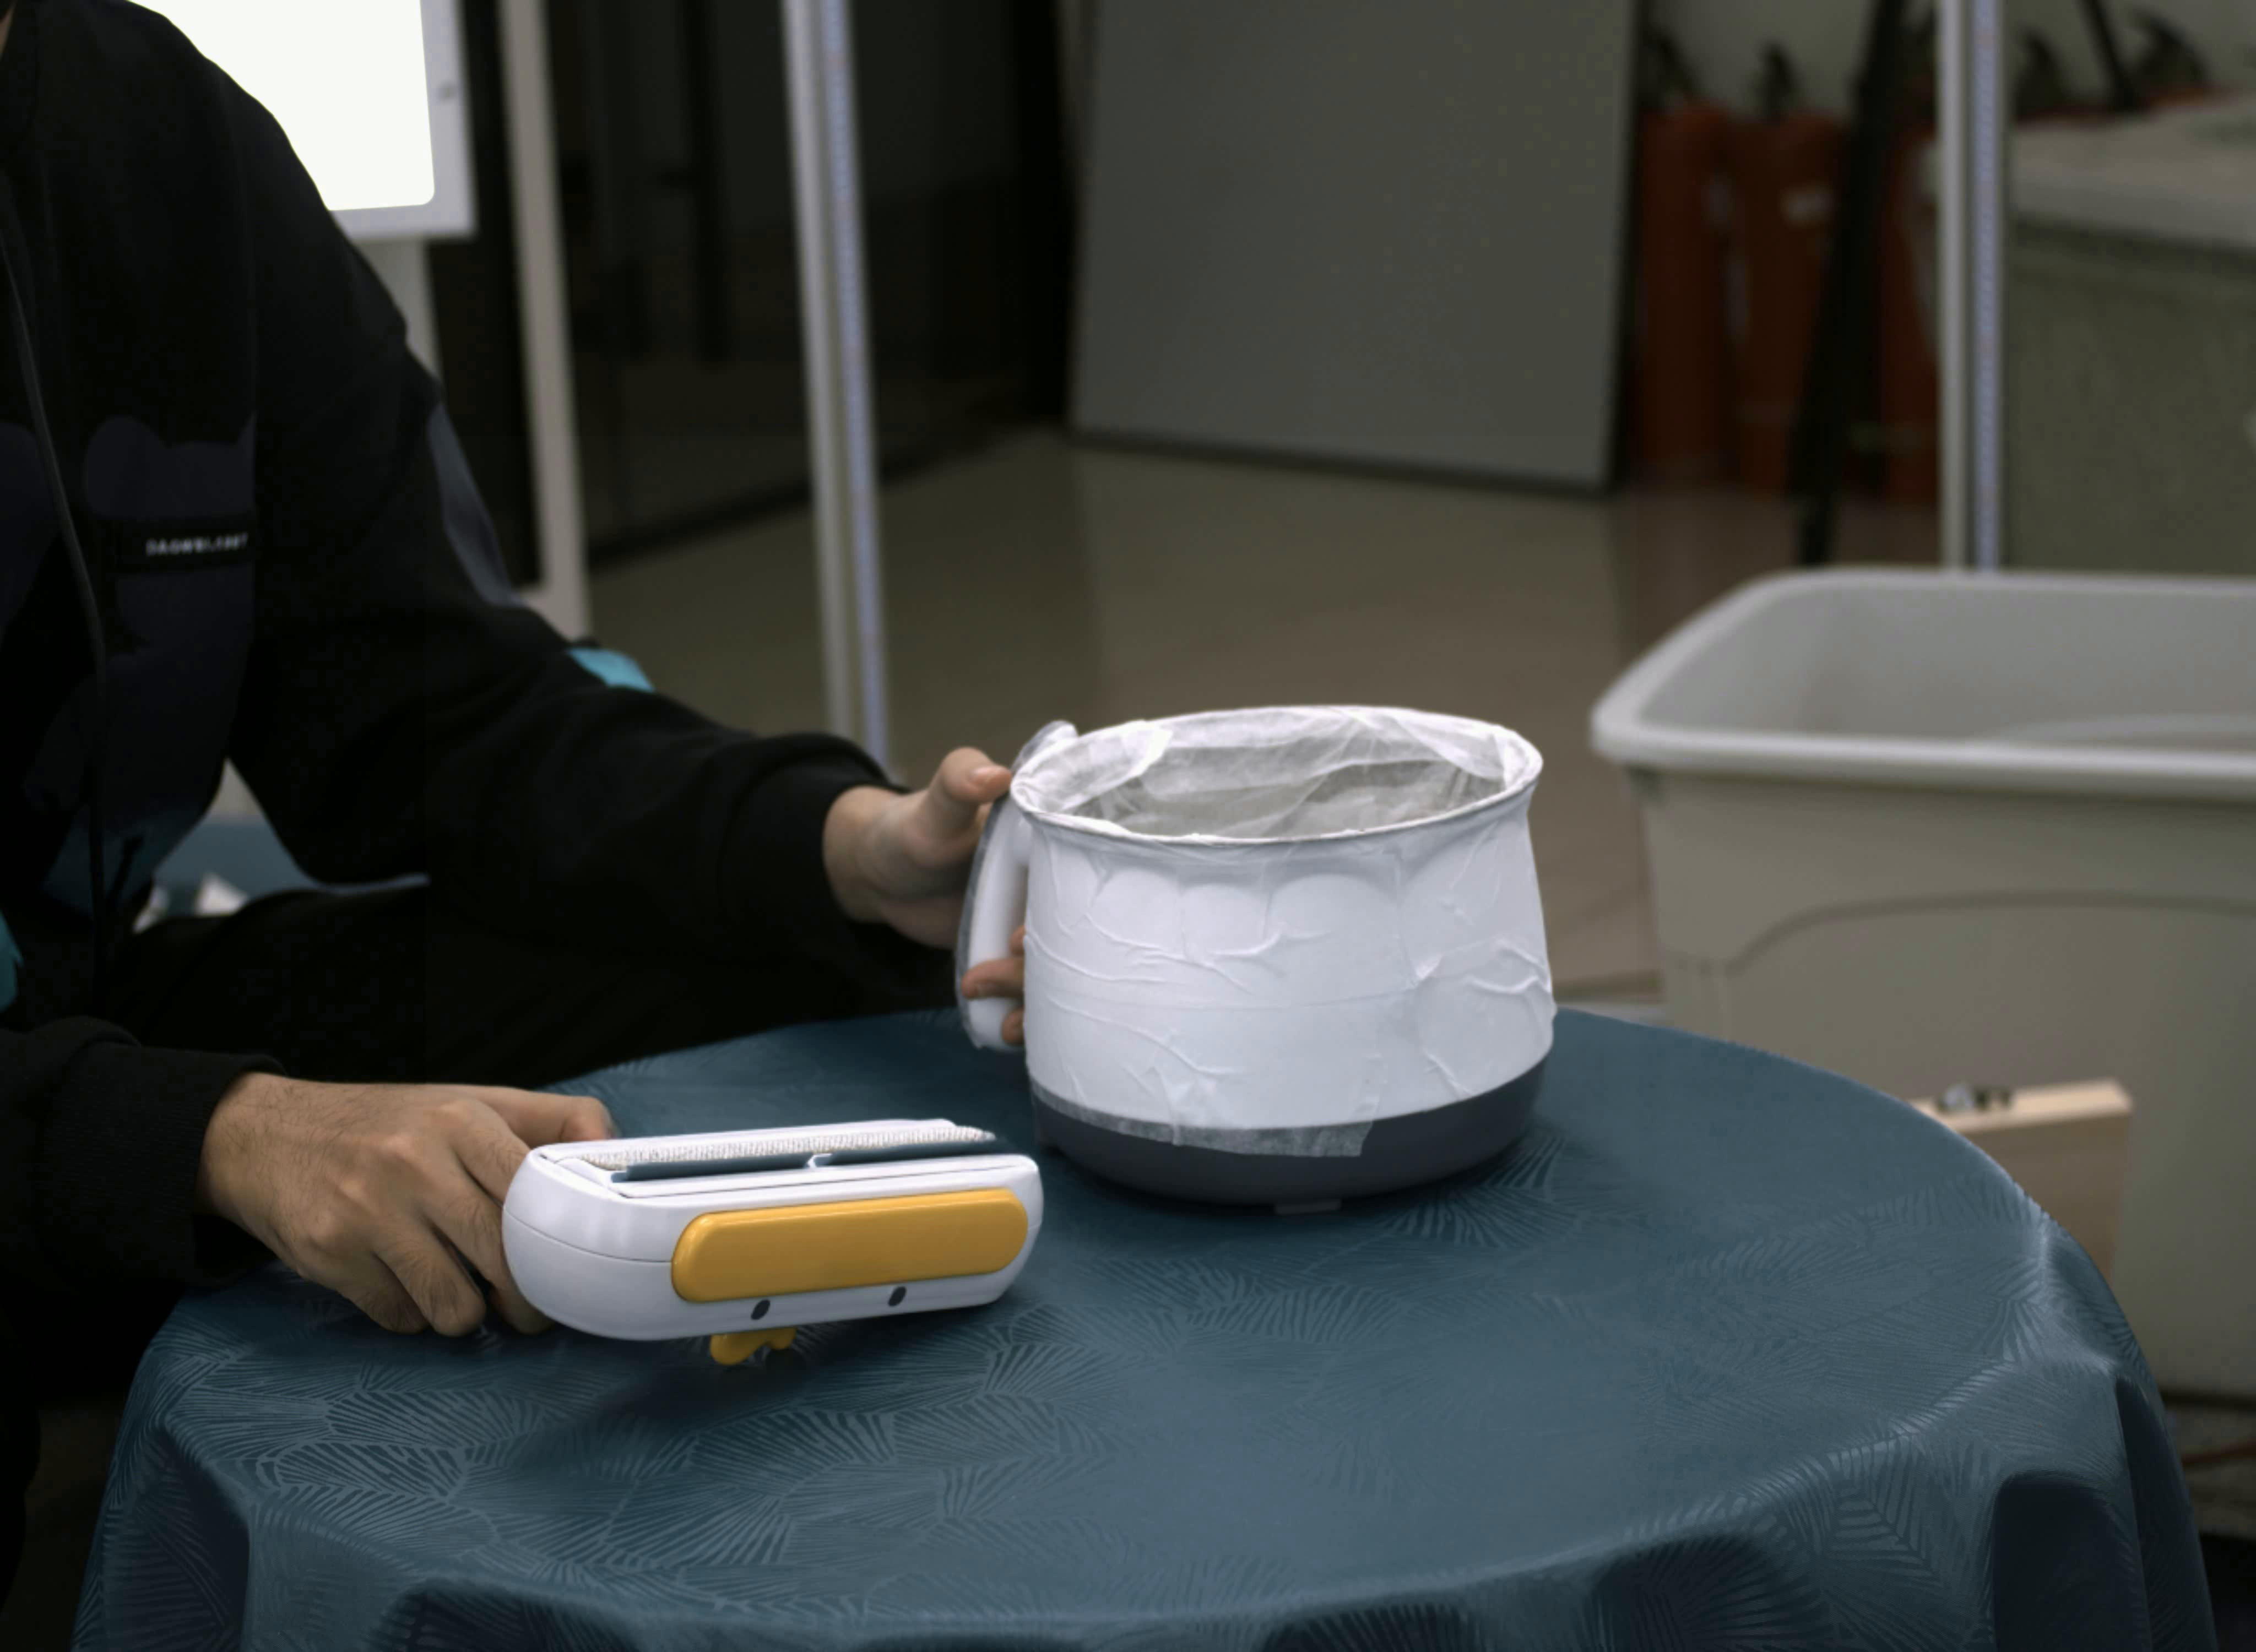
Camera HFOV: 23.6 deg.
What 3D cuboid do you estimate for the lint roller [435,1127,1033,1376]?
[{"bbox_3d":[-0.149,0.122,1.669,0.188,0.075,0.194,-6,10,-41],"label":"lint roller"}]

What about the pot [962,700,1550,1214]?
[{"bbox_3d":[0.032,0.037,1.805,0.236,0.138,0.175,11,18,42],"label":"pot"}]
